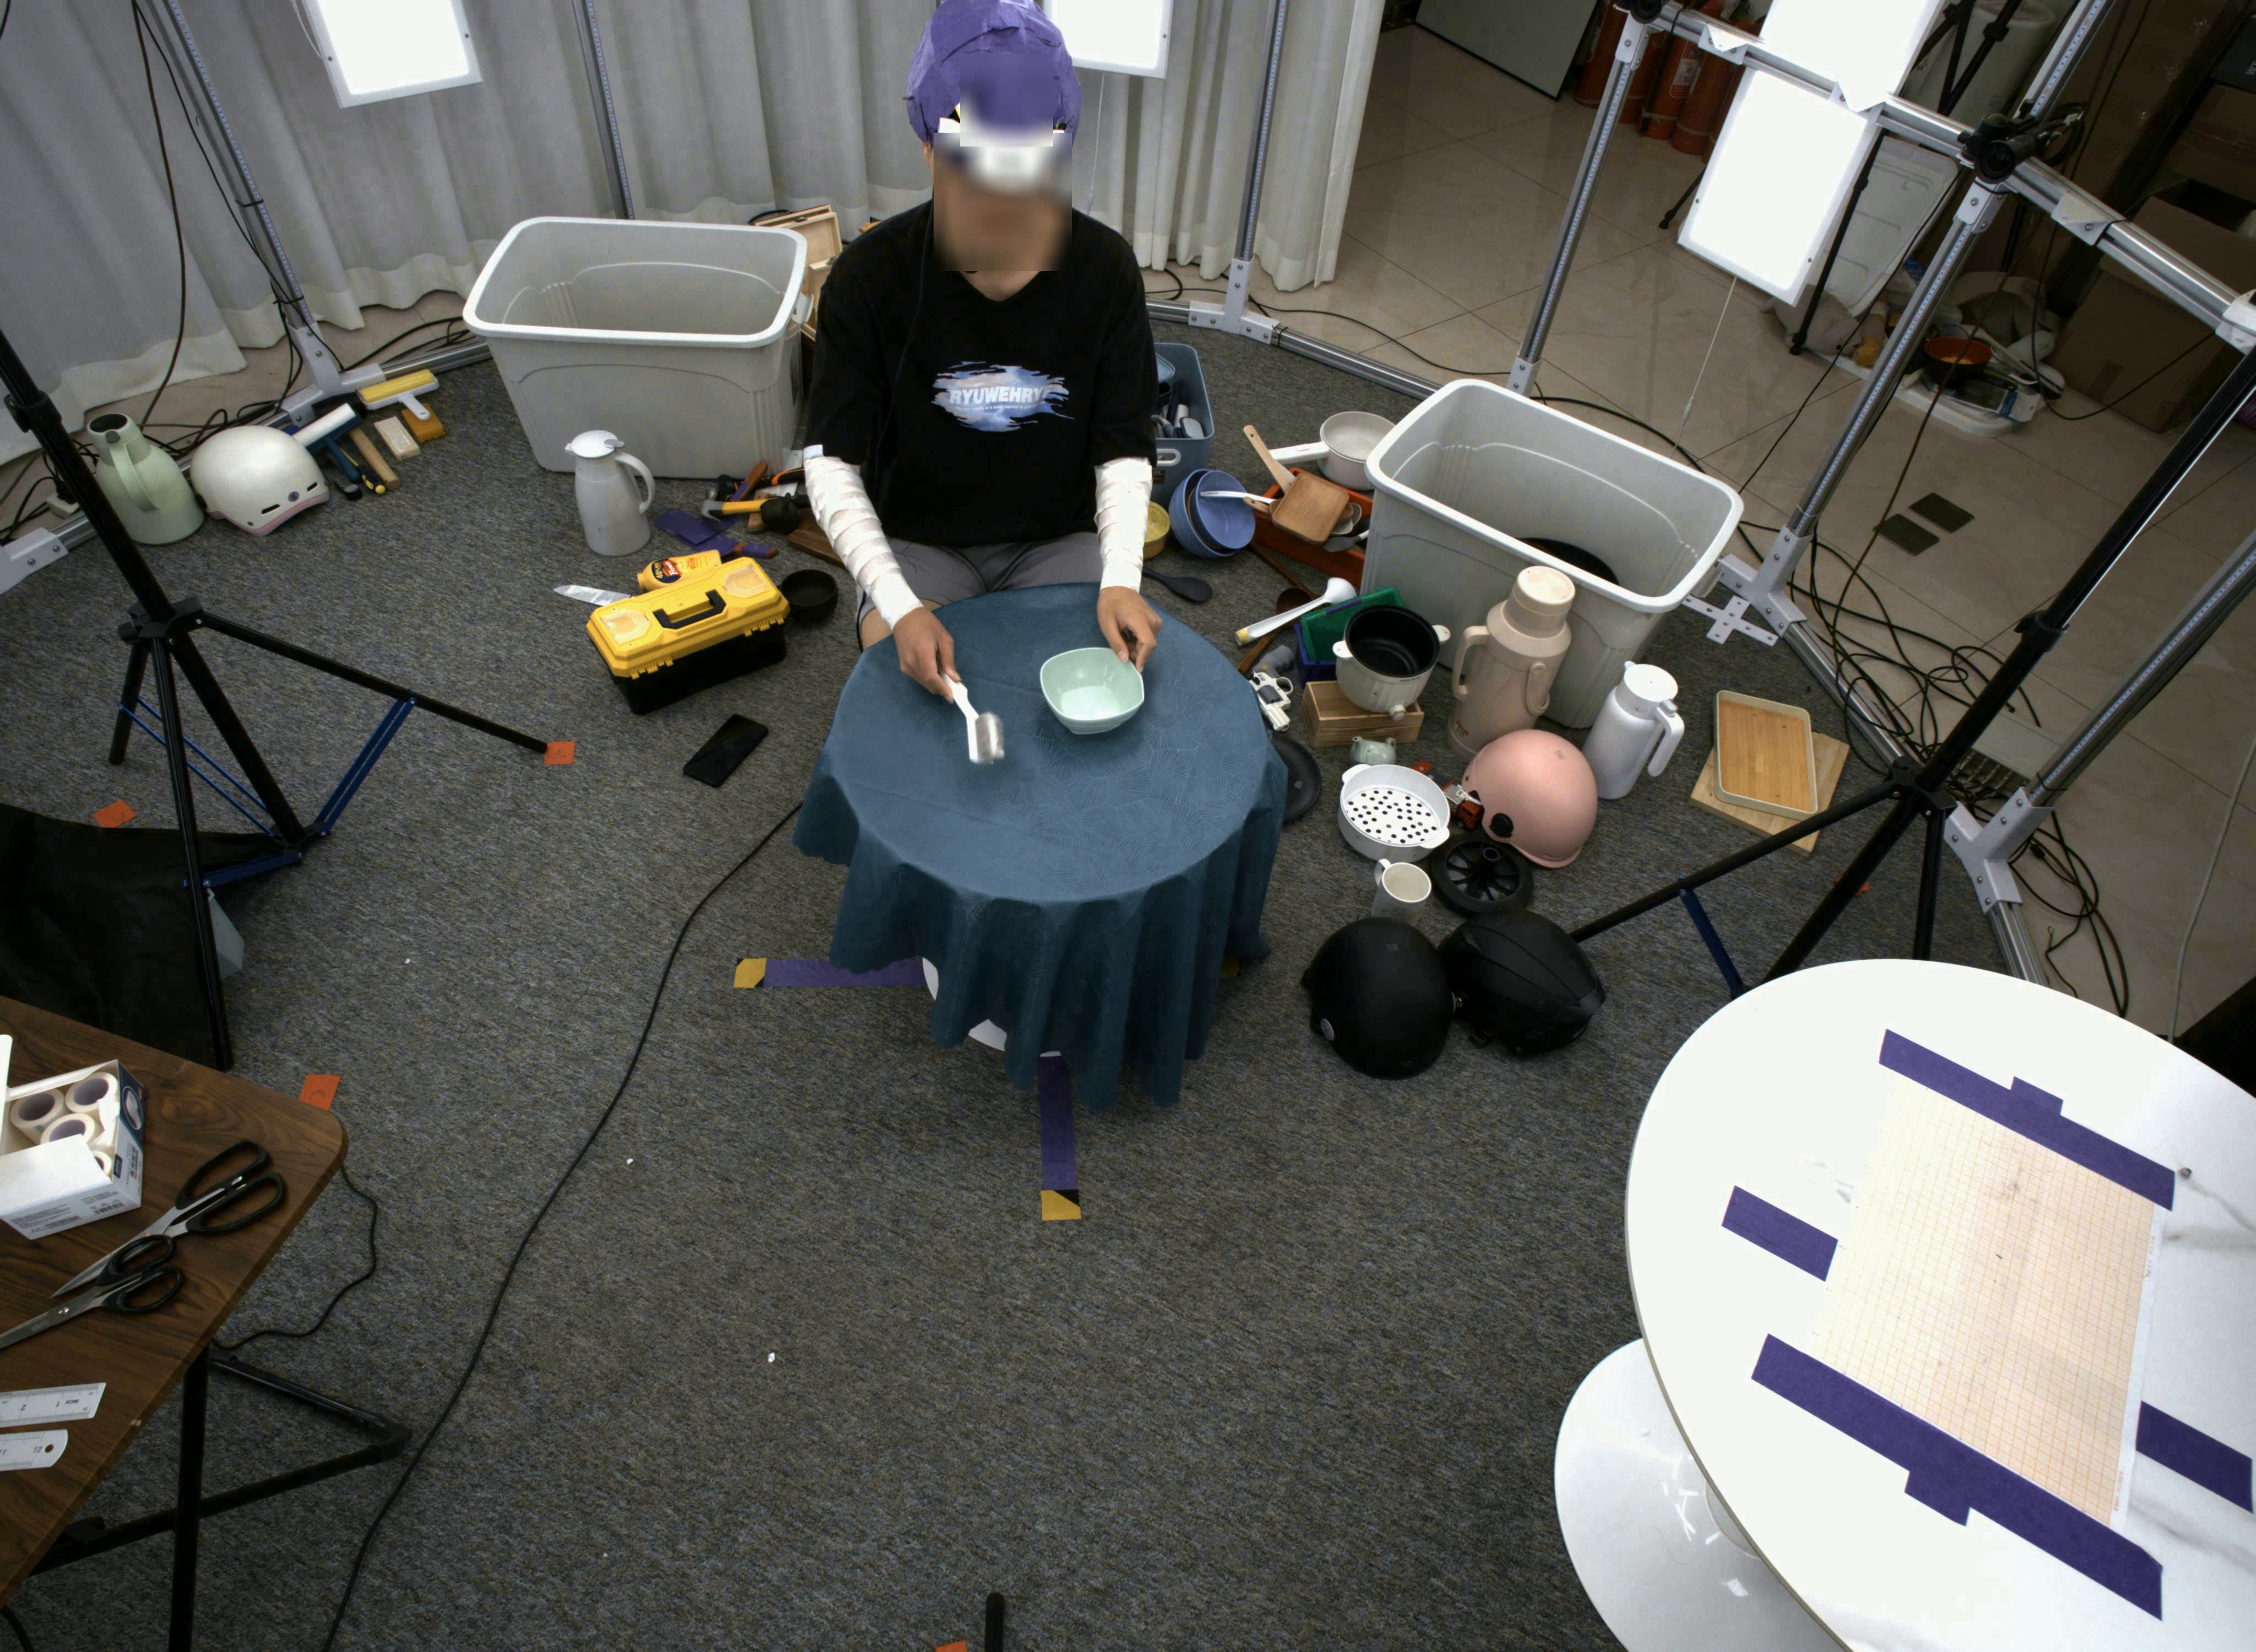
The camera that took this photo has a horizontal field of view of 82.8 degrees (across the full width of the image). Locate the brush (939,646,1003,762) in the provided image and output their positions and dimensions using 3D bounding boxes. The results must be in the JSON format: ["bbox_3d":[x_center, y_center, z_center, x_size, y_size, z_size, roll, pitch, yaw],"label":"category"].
[{"bbox_3d":[-0.212,-0.178,1.738,0.034,0.050,0.250,26,30,-40],"label":"brush"}]

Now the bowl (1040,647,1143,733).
[{"bbox_3d":[-0.052,-0.181,1.789,0.151,0.057,0.155,3,49,-4],"label":"bowl"}]
